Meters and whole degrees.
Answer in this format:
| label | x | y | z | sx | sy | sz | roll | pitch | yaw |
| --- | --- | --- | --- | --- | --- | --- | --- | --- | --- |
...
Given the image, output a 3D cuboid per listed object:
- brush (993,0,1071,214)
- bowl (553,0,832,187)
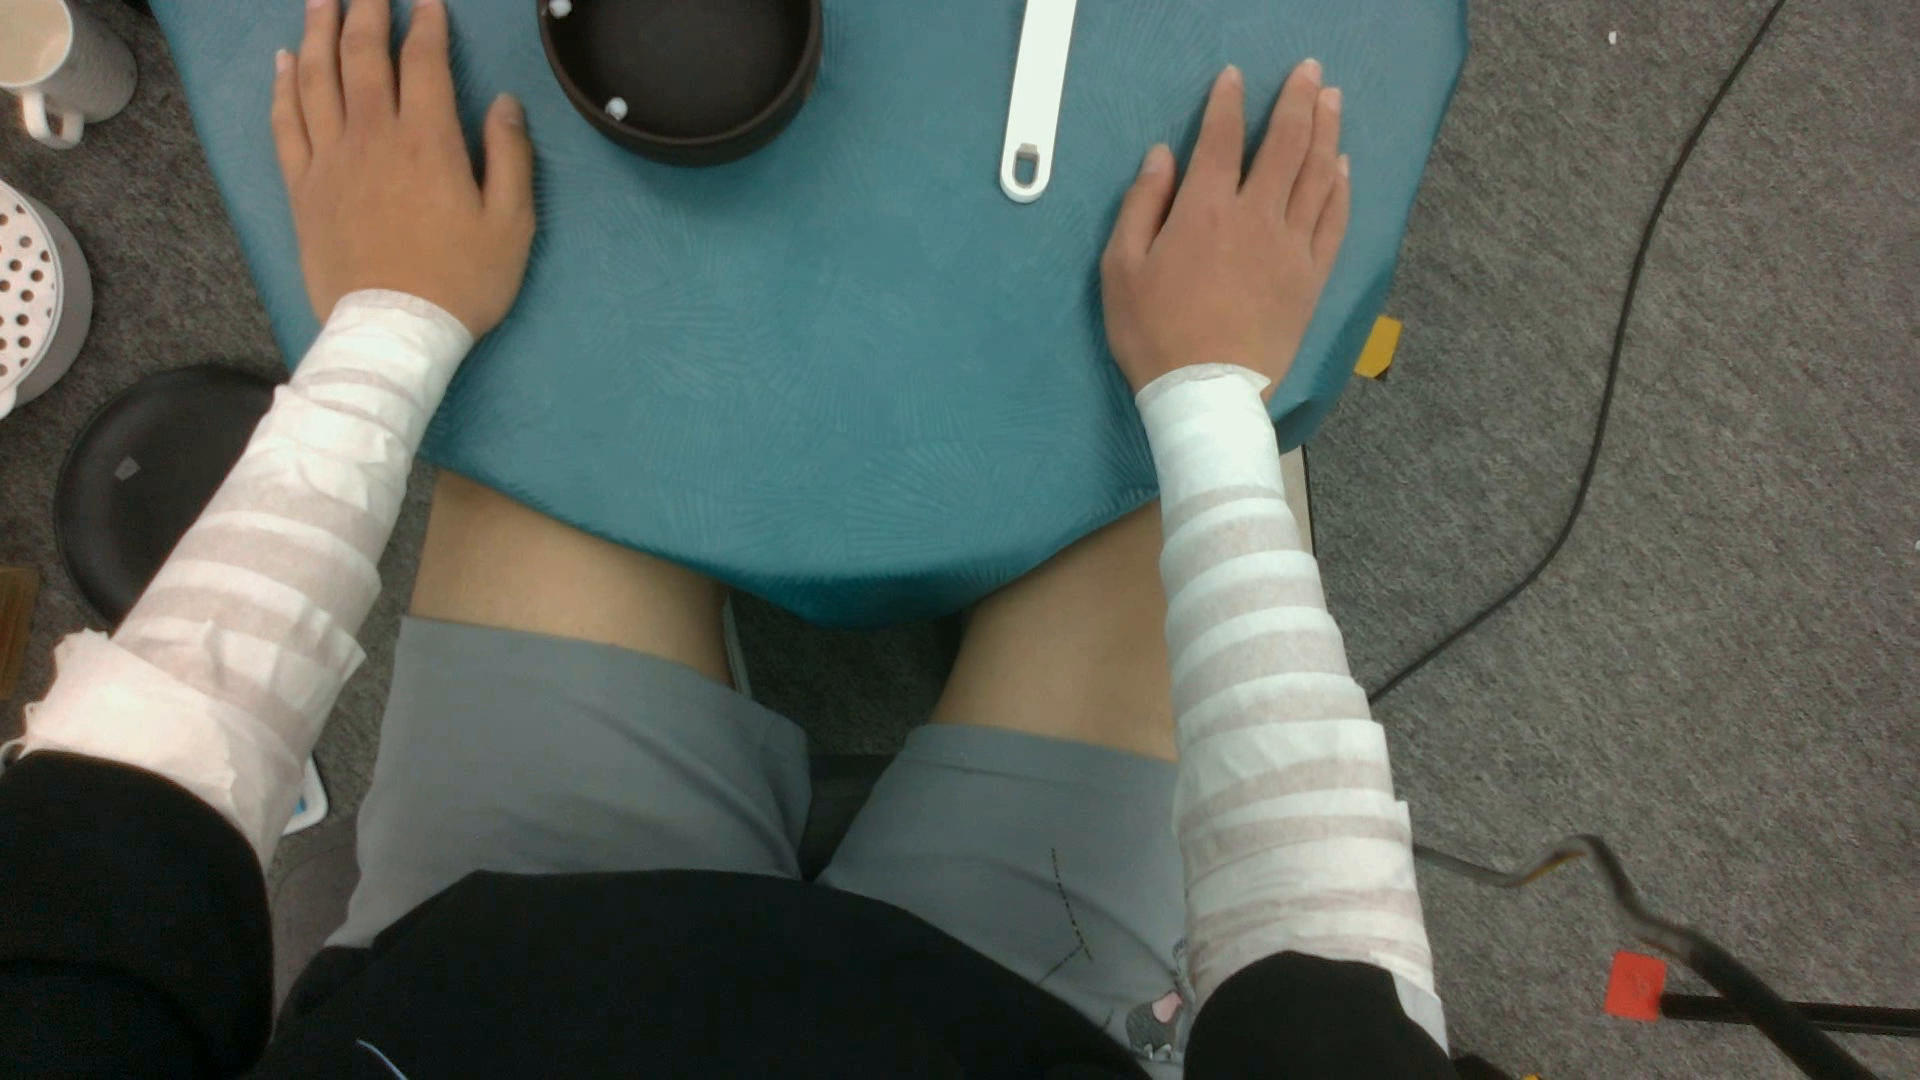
| label | x | y | z | sx | sy | sz | roll | pitch | yaw |
| --- | --- | --- | --- | --- | --- | --- | --- | --- | --- |
| brush | 0.046 | -0.276 | 0.640 | 0.034 | 0.050 | 0.243 | 10 | 88 | -4 |
| bowl | -0.116 | -0.215 | 0.613 | 0.118 | 0.070 | 0.118 | 0 | 91 | -5 |
